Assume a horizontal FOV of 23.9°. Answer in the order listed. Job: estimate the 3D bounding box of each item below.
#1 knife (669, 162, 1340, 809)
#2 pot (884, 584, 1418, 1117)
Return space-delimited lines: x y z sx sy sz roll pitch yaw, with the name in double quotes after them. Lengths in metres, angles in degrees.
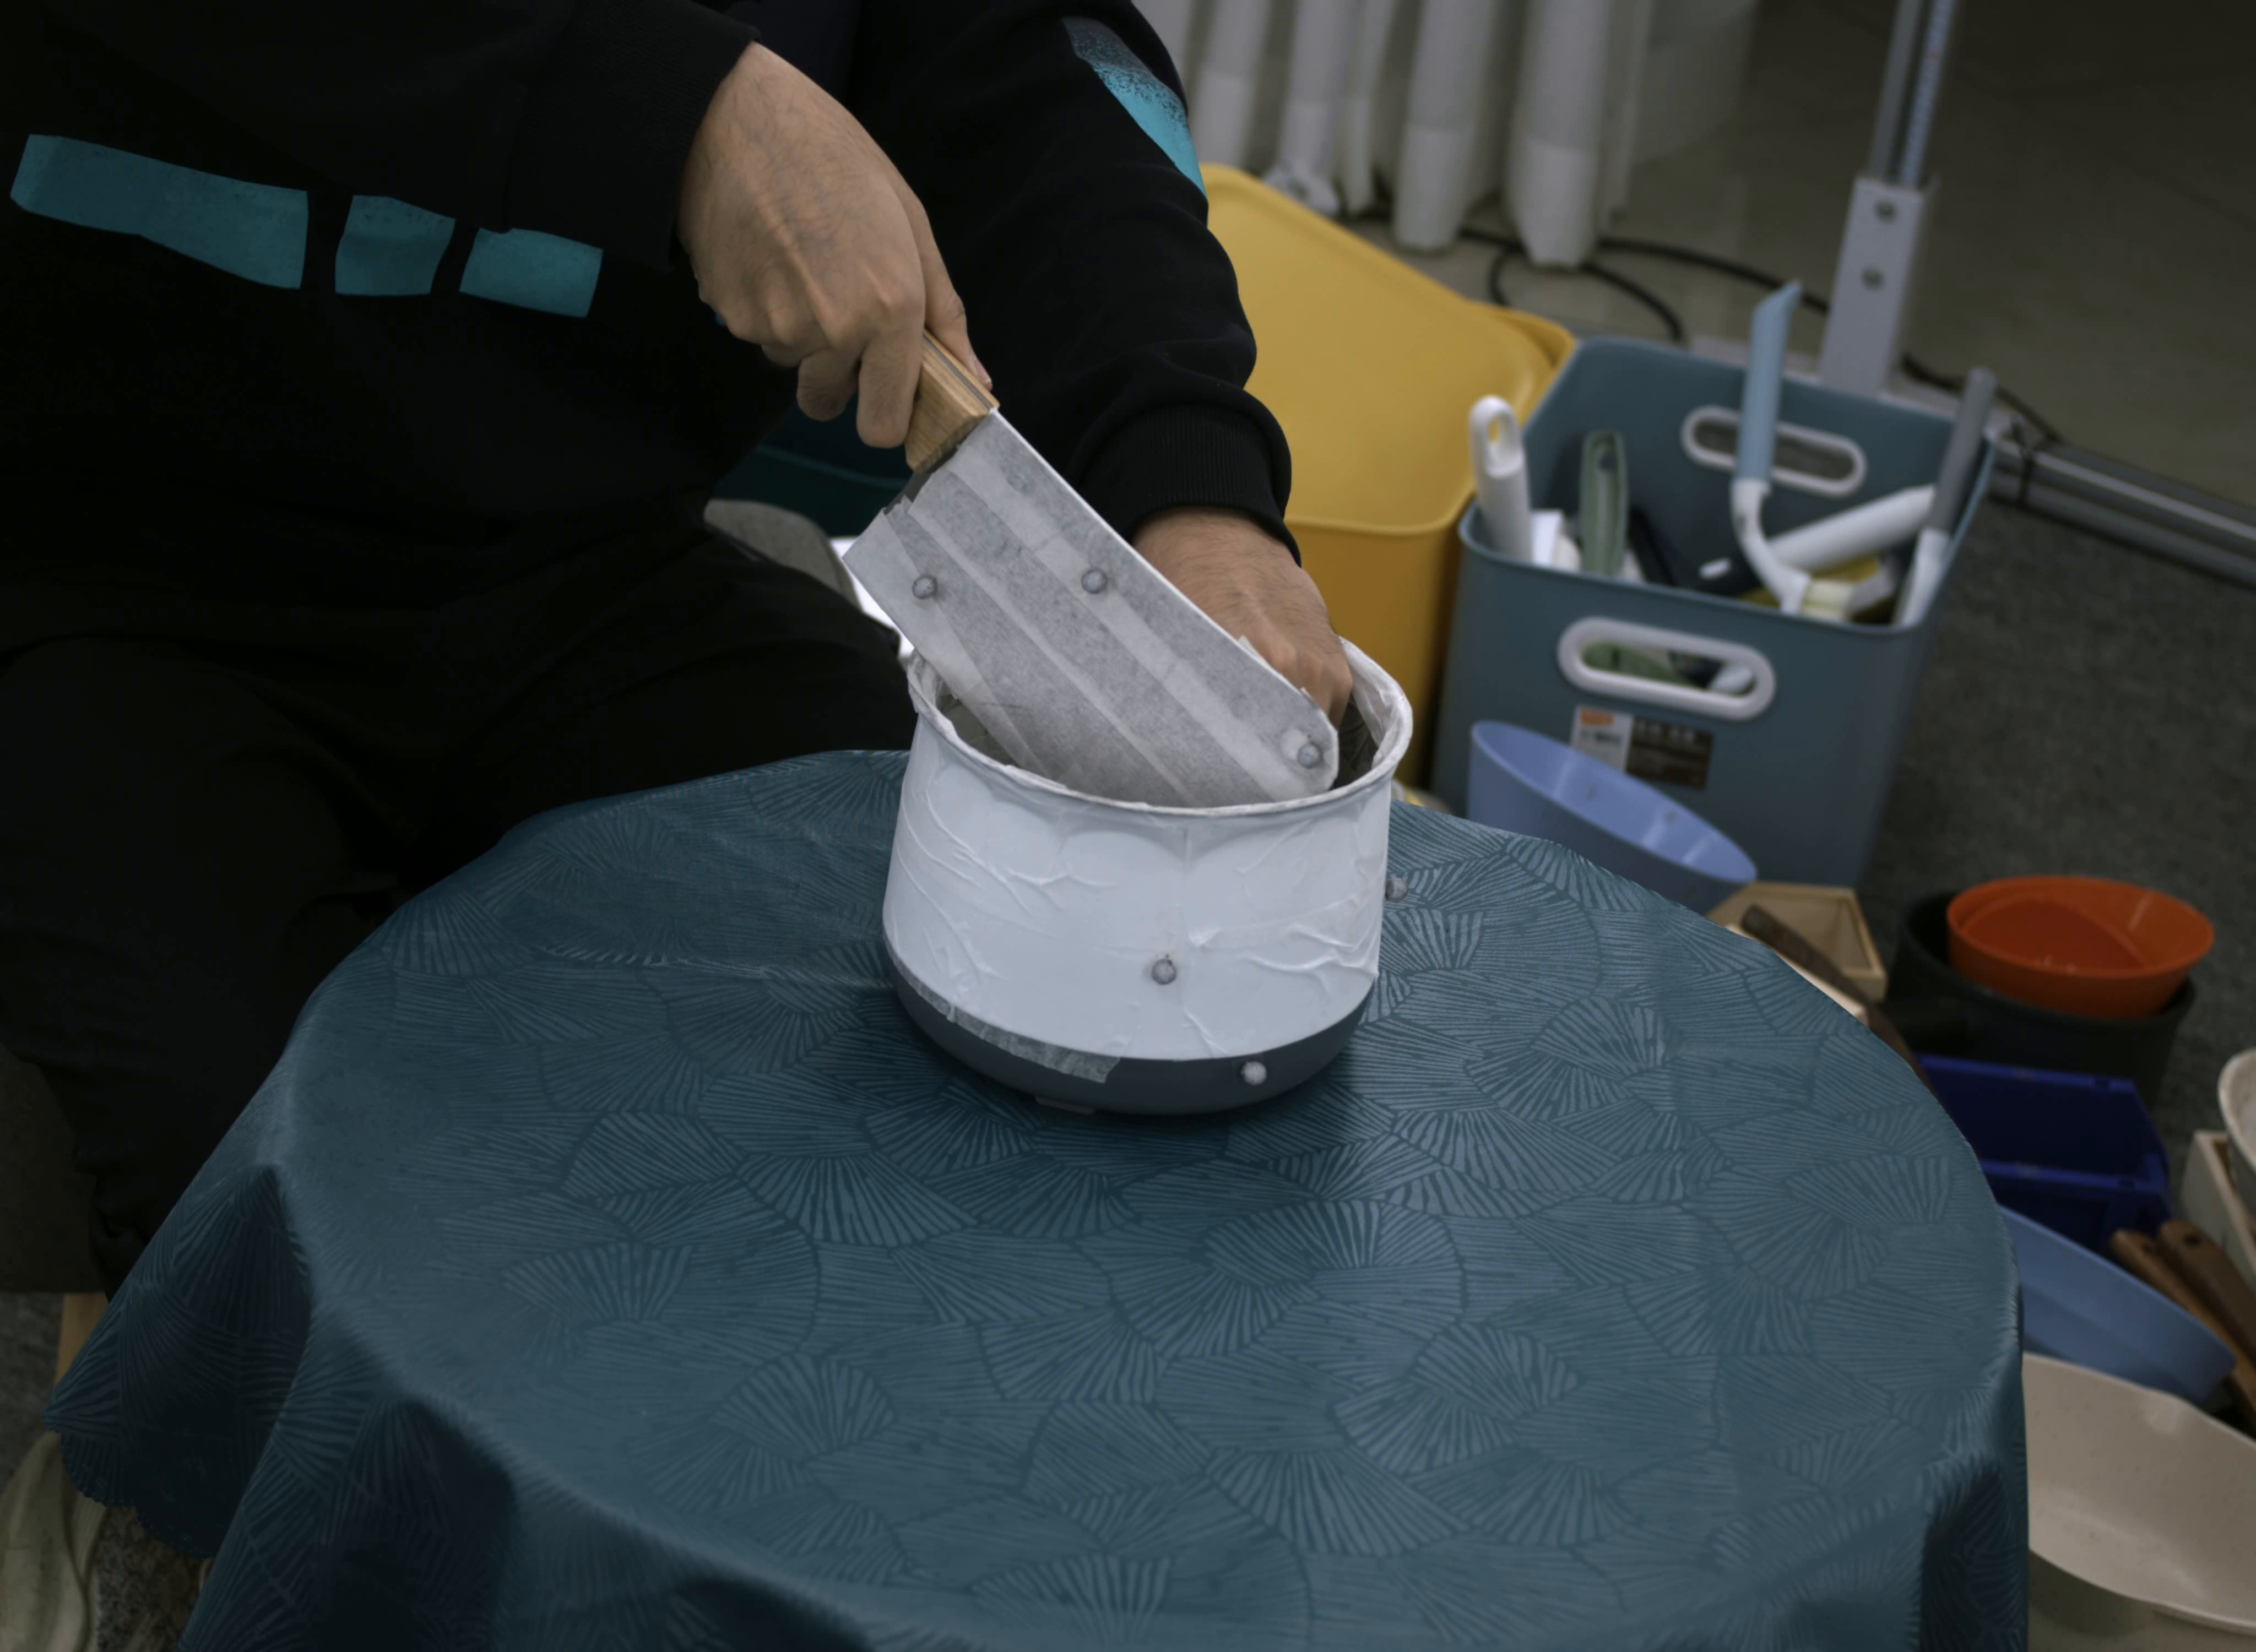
-0.048 -0.103 1.830 0.316 0.114 0.021 50 30 6 "knife"
-0.009 -0.003 1.897 0.177 0.136 0.236 -9 32 -29 "pot"
